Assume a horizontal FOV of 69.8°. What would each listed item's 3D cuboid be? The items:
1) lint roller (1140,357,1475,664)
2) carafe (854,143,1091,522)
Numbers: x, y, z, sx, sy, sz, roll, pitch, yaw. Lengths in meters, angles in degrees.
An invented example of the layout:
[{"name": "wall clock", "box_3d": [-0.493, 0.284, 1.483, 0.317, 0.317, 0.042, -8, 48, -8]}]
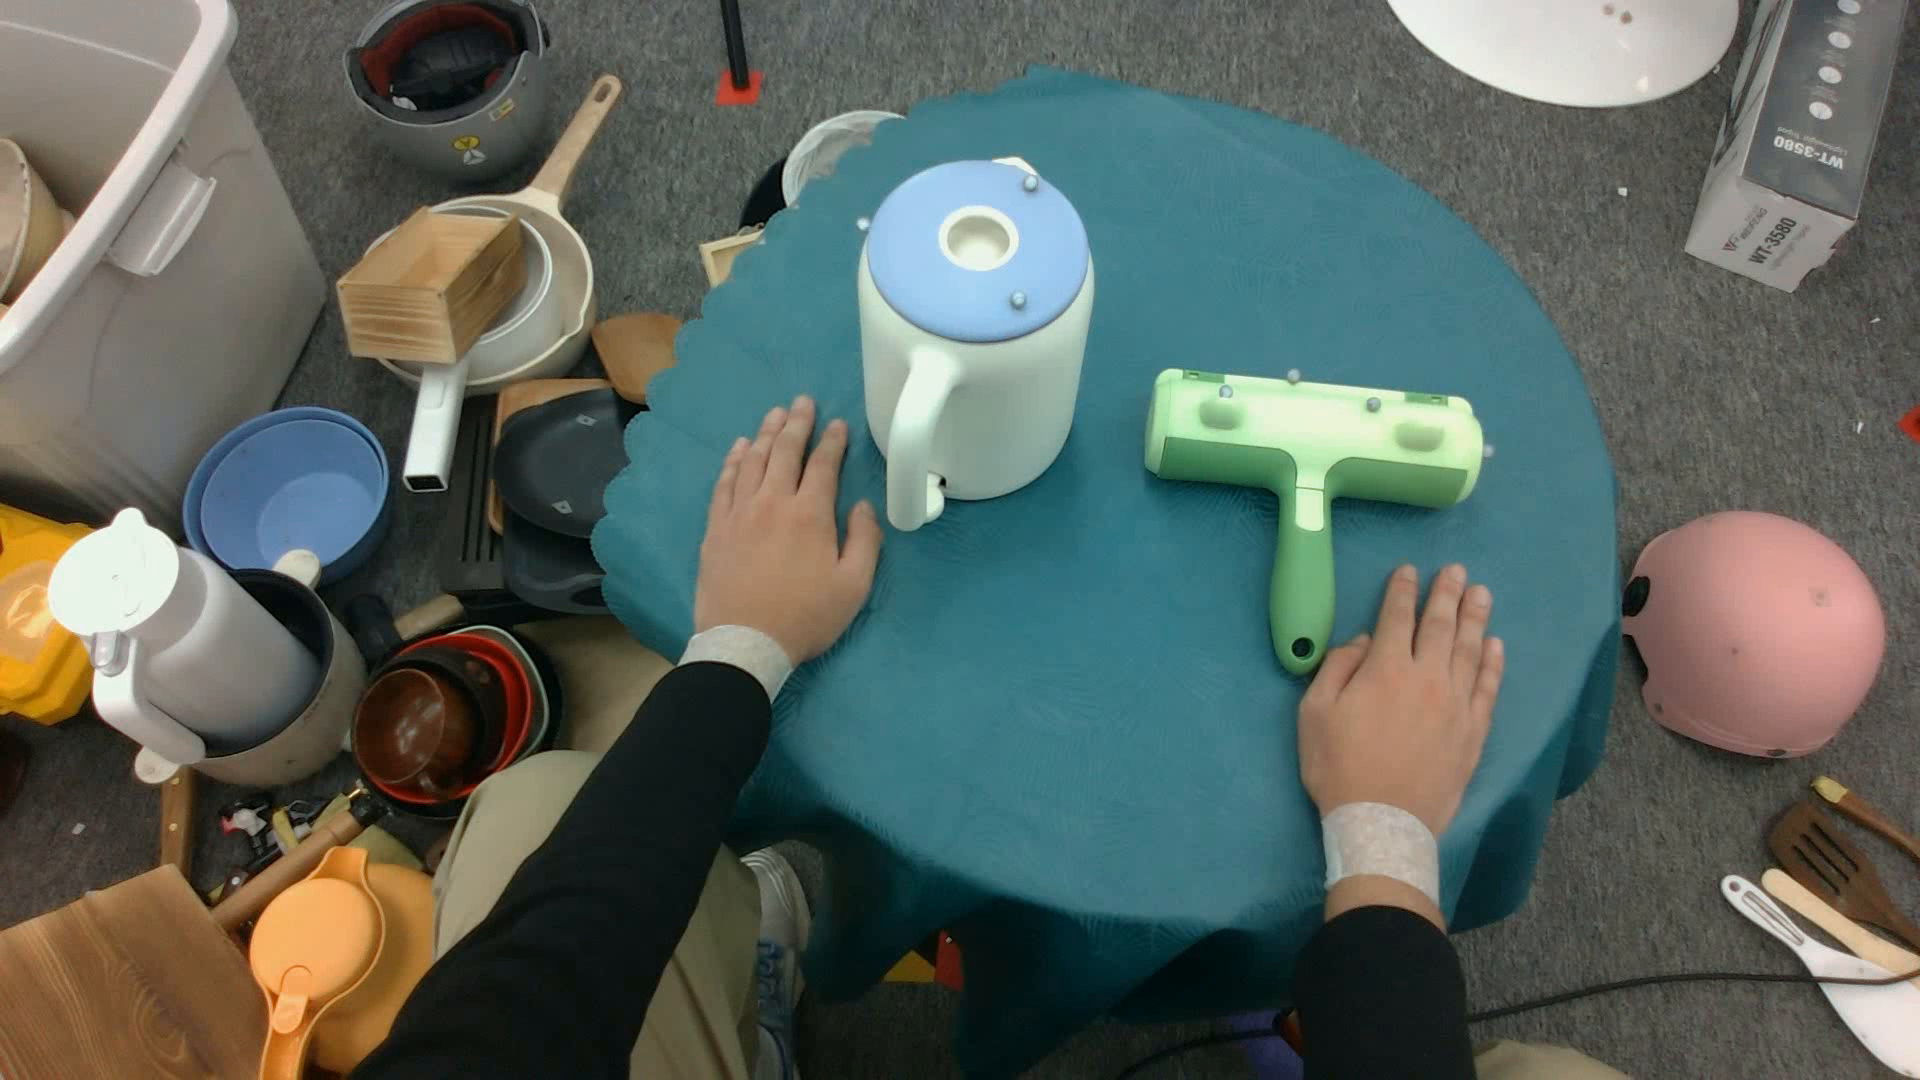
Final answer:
[{"name": "lint roller", "box_3d": [0.204, -0.024, 0.811, 0.198, 0.082, 0.184, 7, 61, 3]}, {"name": "carafe", "box_3d": [-0.002, -0.104, 0.791, 0.132, 0.182, 0.192, 17, 66, 7]}]
